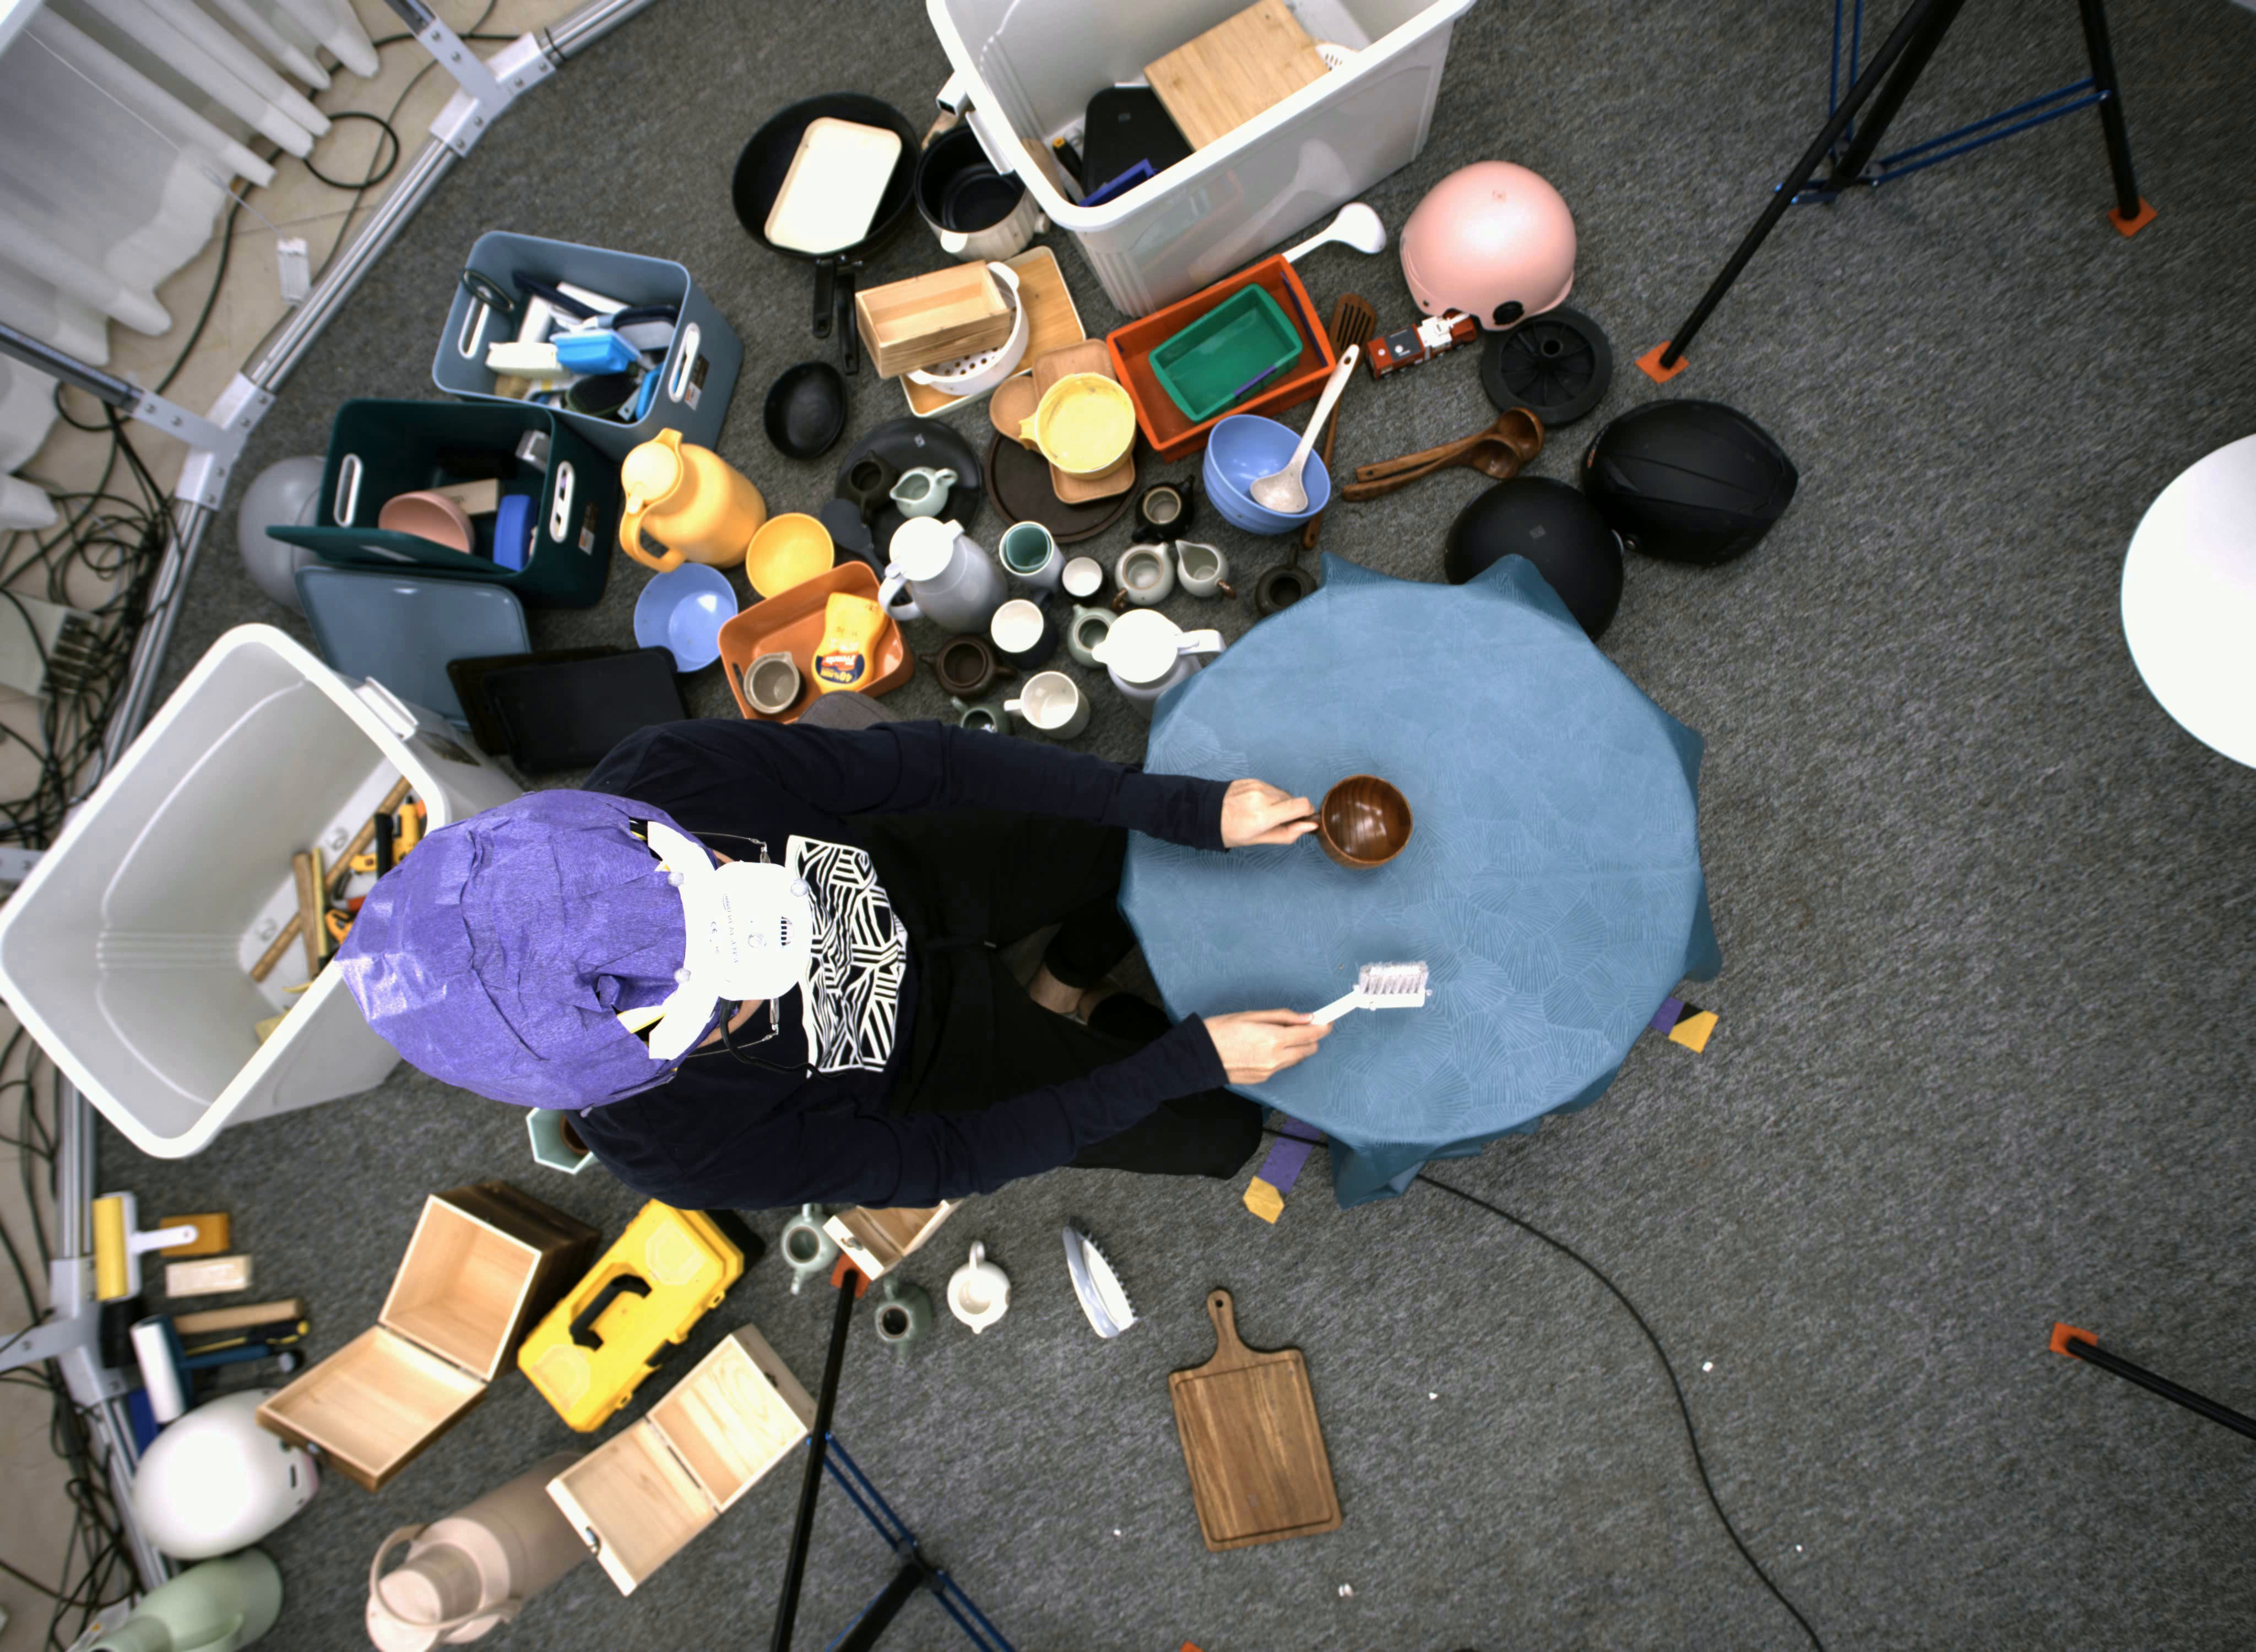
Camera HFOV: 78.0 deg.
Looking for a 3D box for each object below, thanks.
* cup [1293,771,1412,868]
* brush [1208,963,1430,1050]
[{"bbox_3d":[0.223,-0.003,1.410,0.119,0.069,0.095,2,76,-10],"label":"cup"},{"bbox_3d":[0.190,0.181,1.407,0.246,0.033,0.051,-16,116,19],"label":"brush"}]
